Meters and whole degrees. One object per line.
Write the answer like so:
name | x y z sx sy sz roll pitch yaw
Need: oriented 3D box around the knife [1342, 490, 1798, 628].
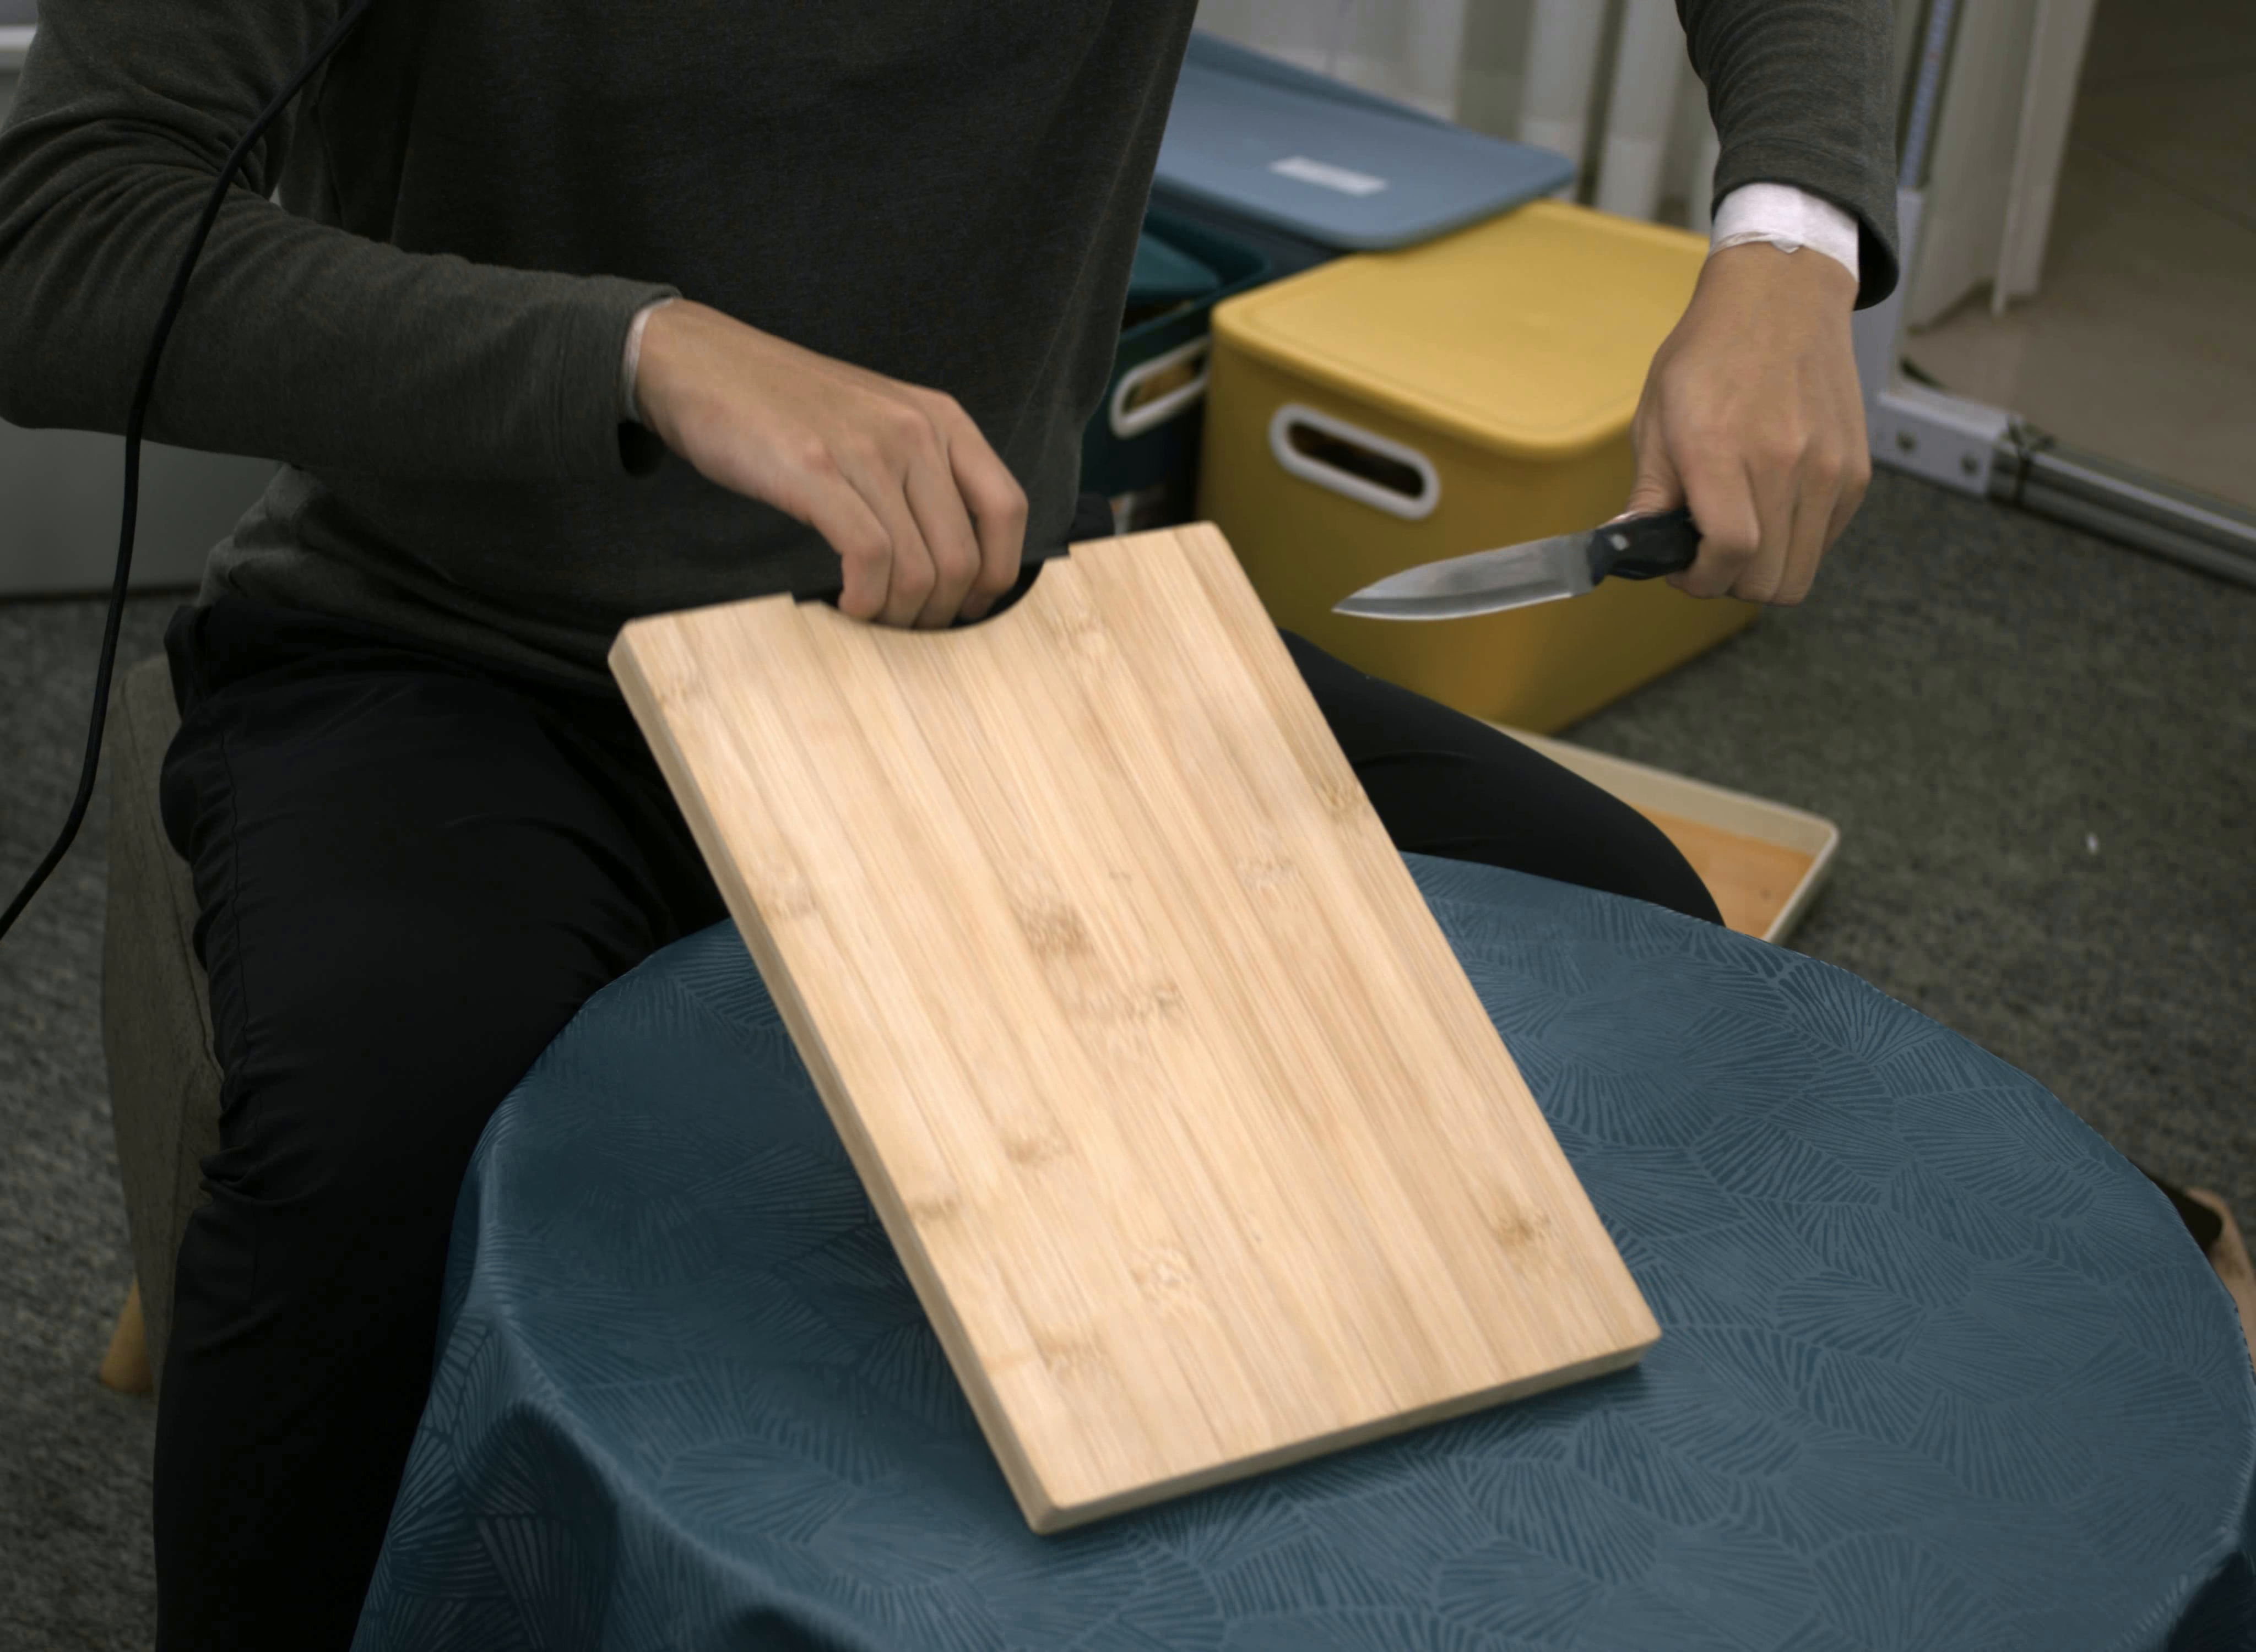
knife | 0.152 -0.092 1.833 0.237 0.016 0.024 -15 75 -43

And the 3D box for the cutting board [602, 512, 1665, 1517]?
cutting board | -0.001 0.053 1.747 0.249 0.023 0.351 -12 60 -33
